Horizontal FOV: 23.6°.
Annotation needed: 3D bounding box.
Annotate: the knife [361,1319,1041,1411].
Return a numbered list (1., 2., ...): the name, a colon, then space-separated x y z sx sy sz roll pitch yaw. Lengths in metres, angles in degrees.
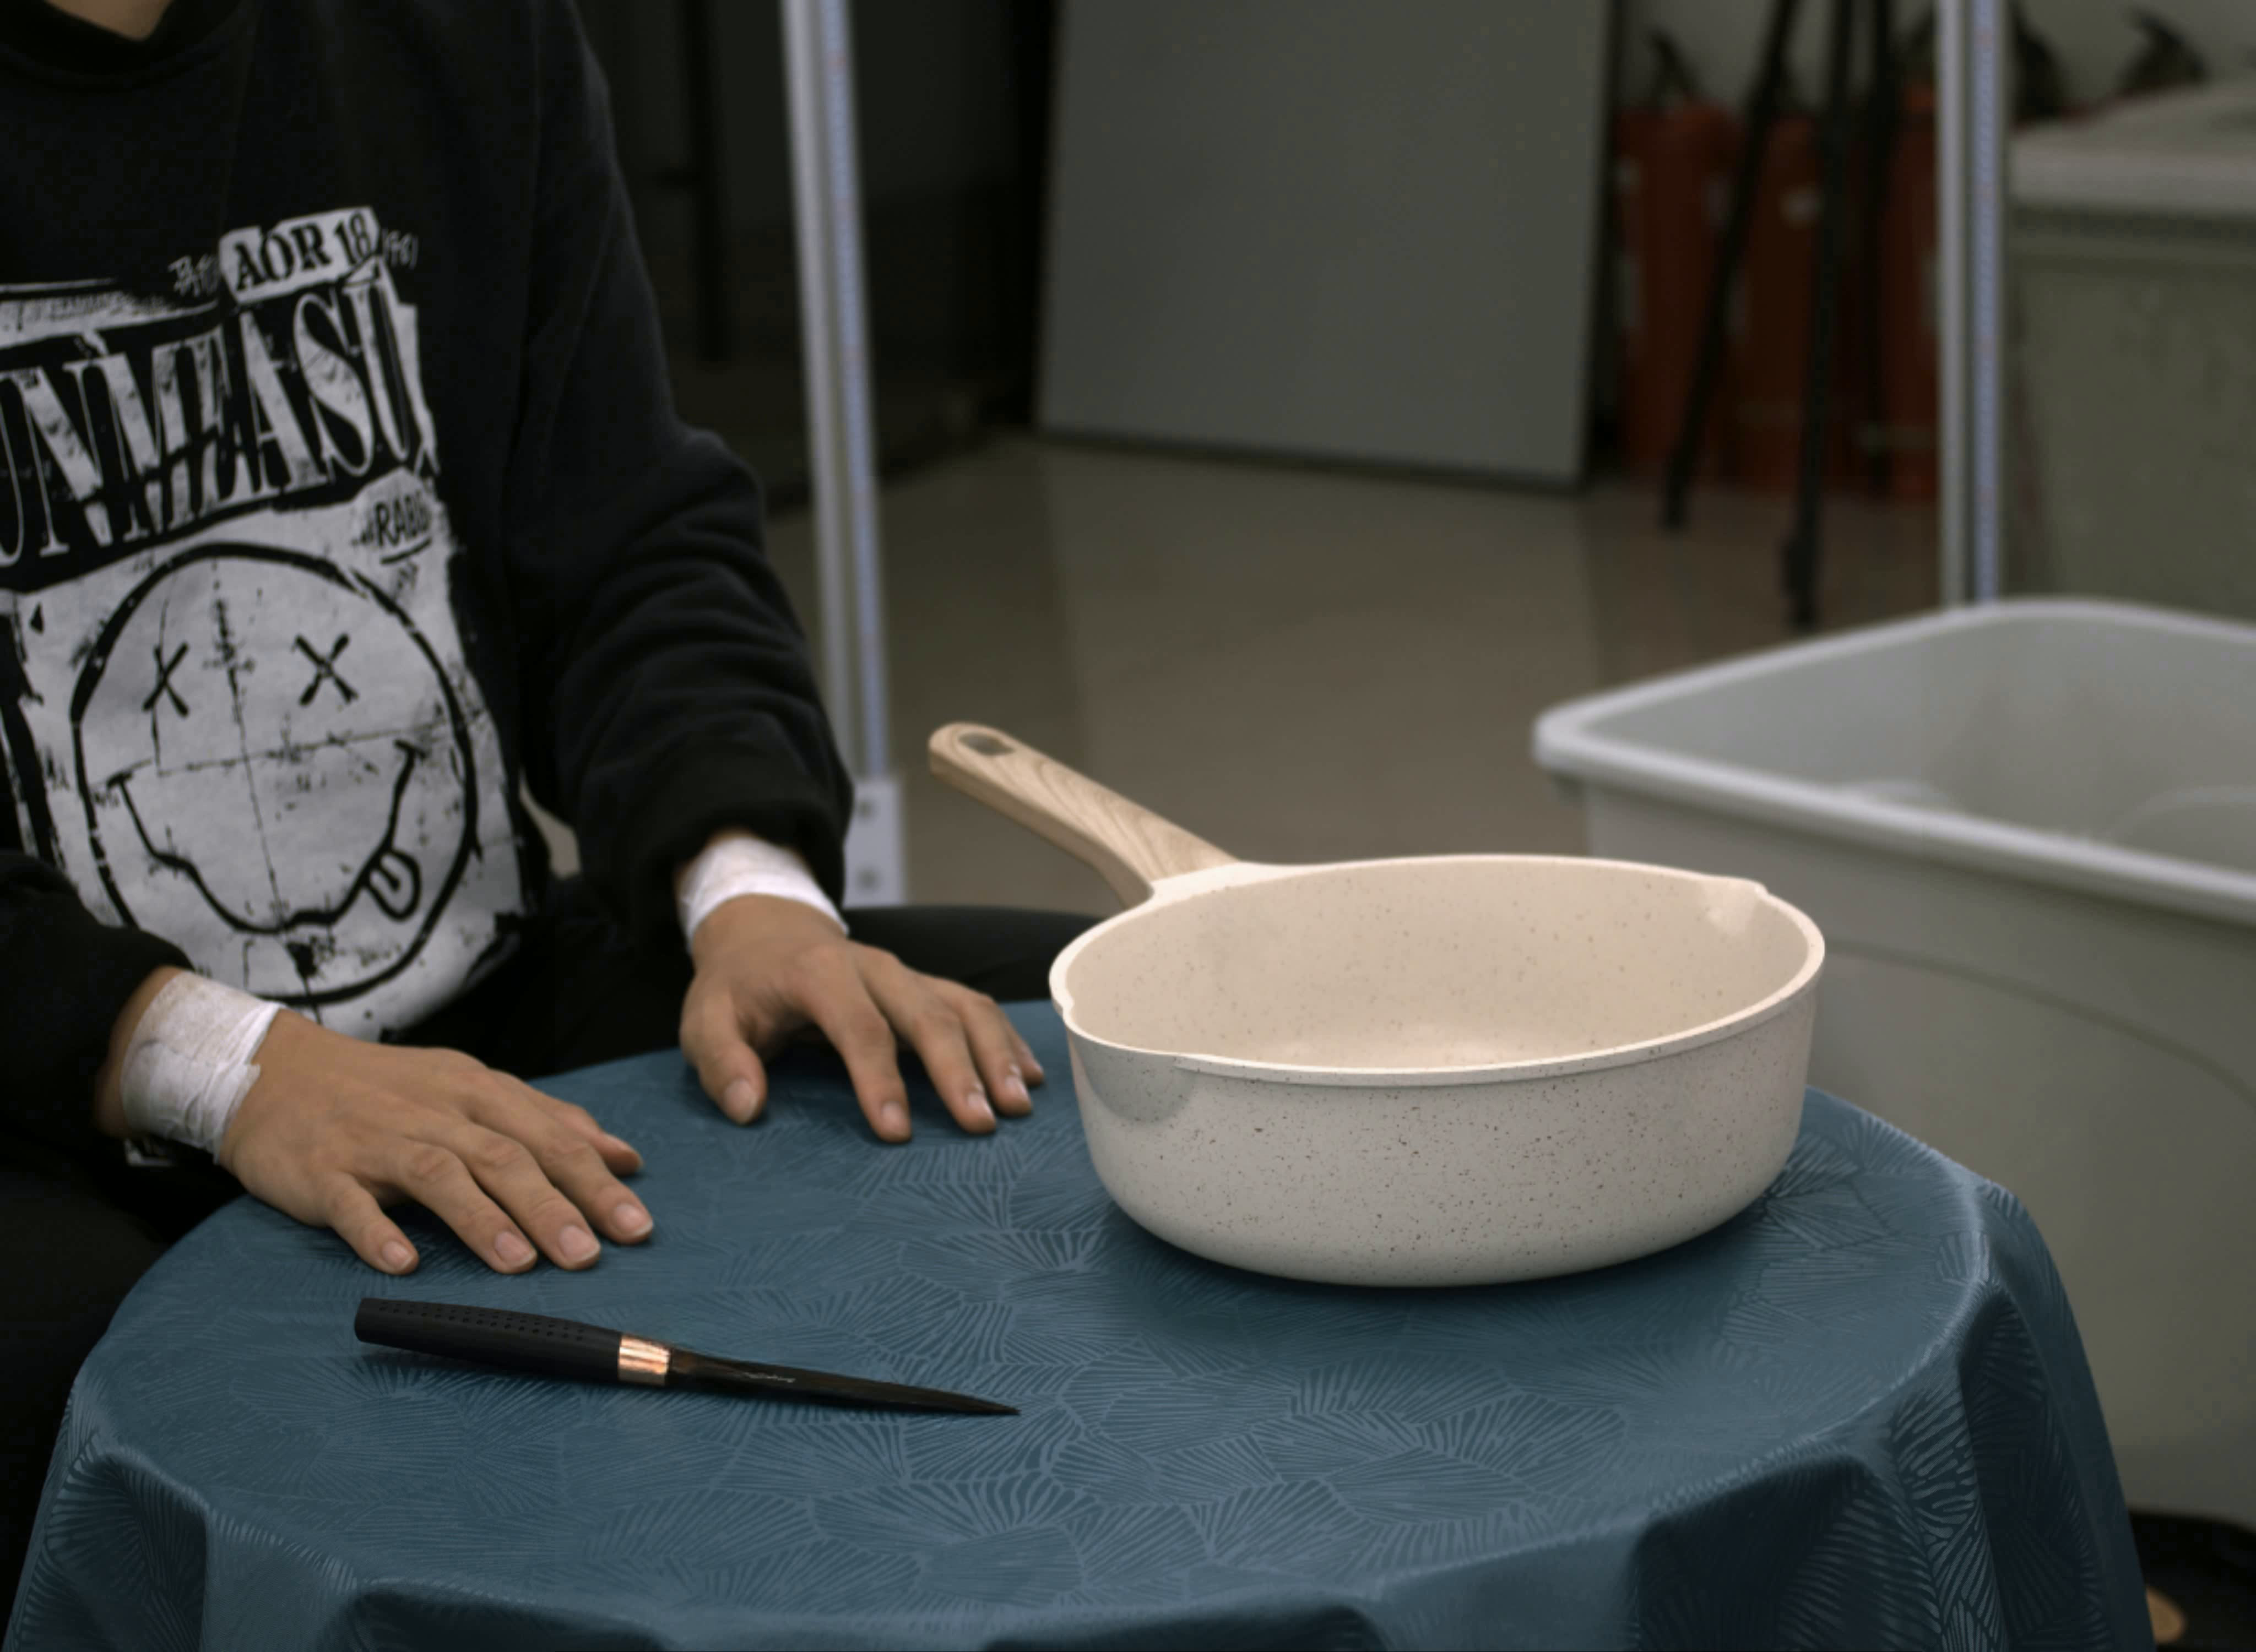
1. knife: -0.130 0.164 1.624 0.226 0.017 0.026 3 0 24

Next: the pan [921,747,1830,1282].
1. pan: 0.055 0.055 1.816 0.258 0.103 0.439 -14 17 -29
